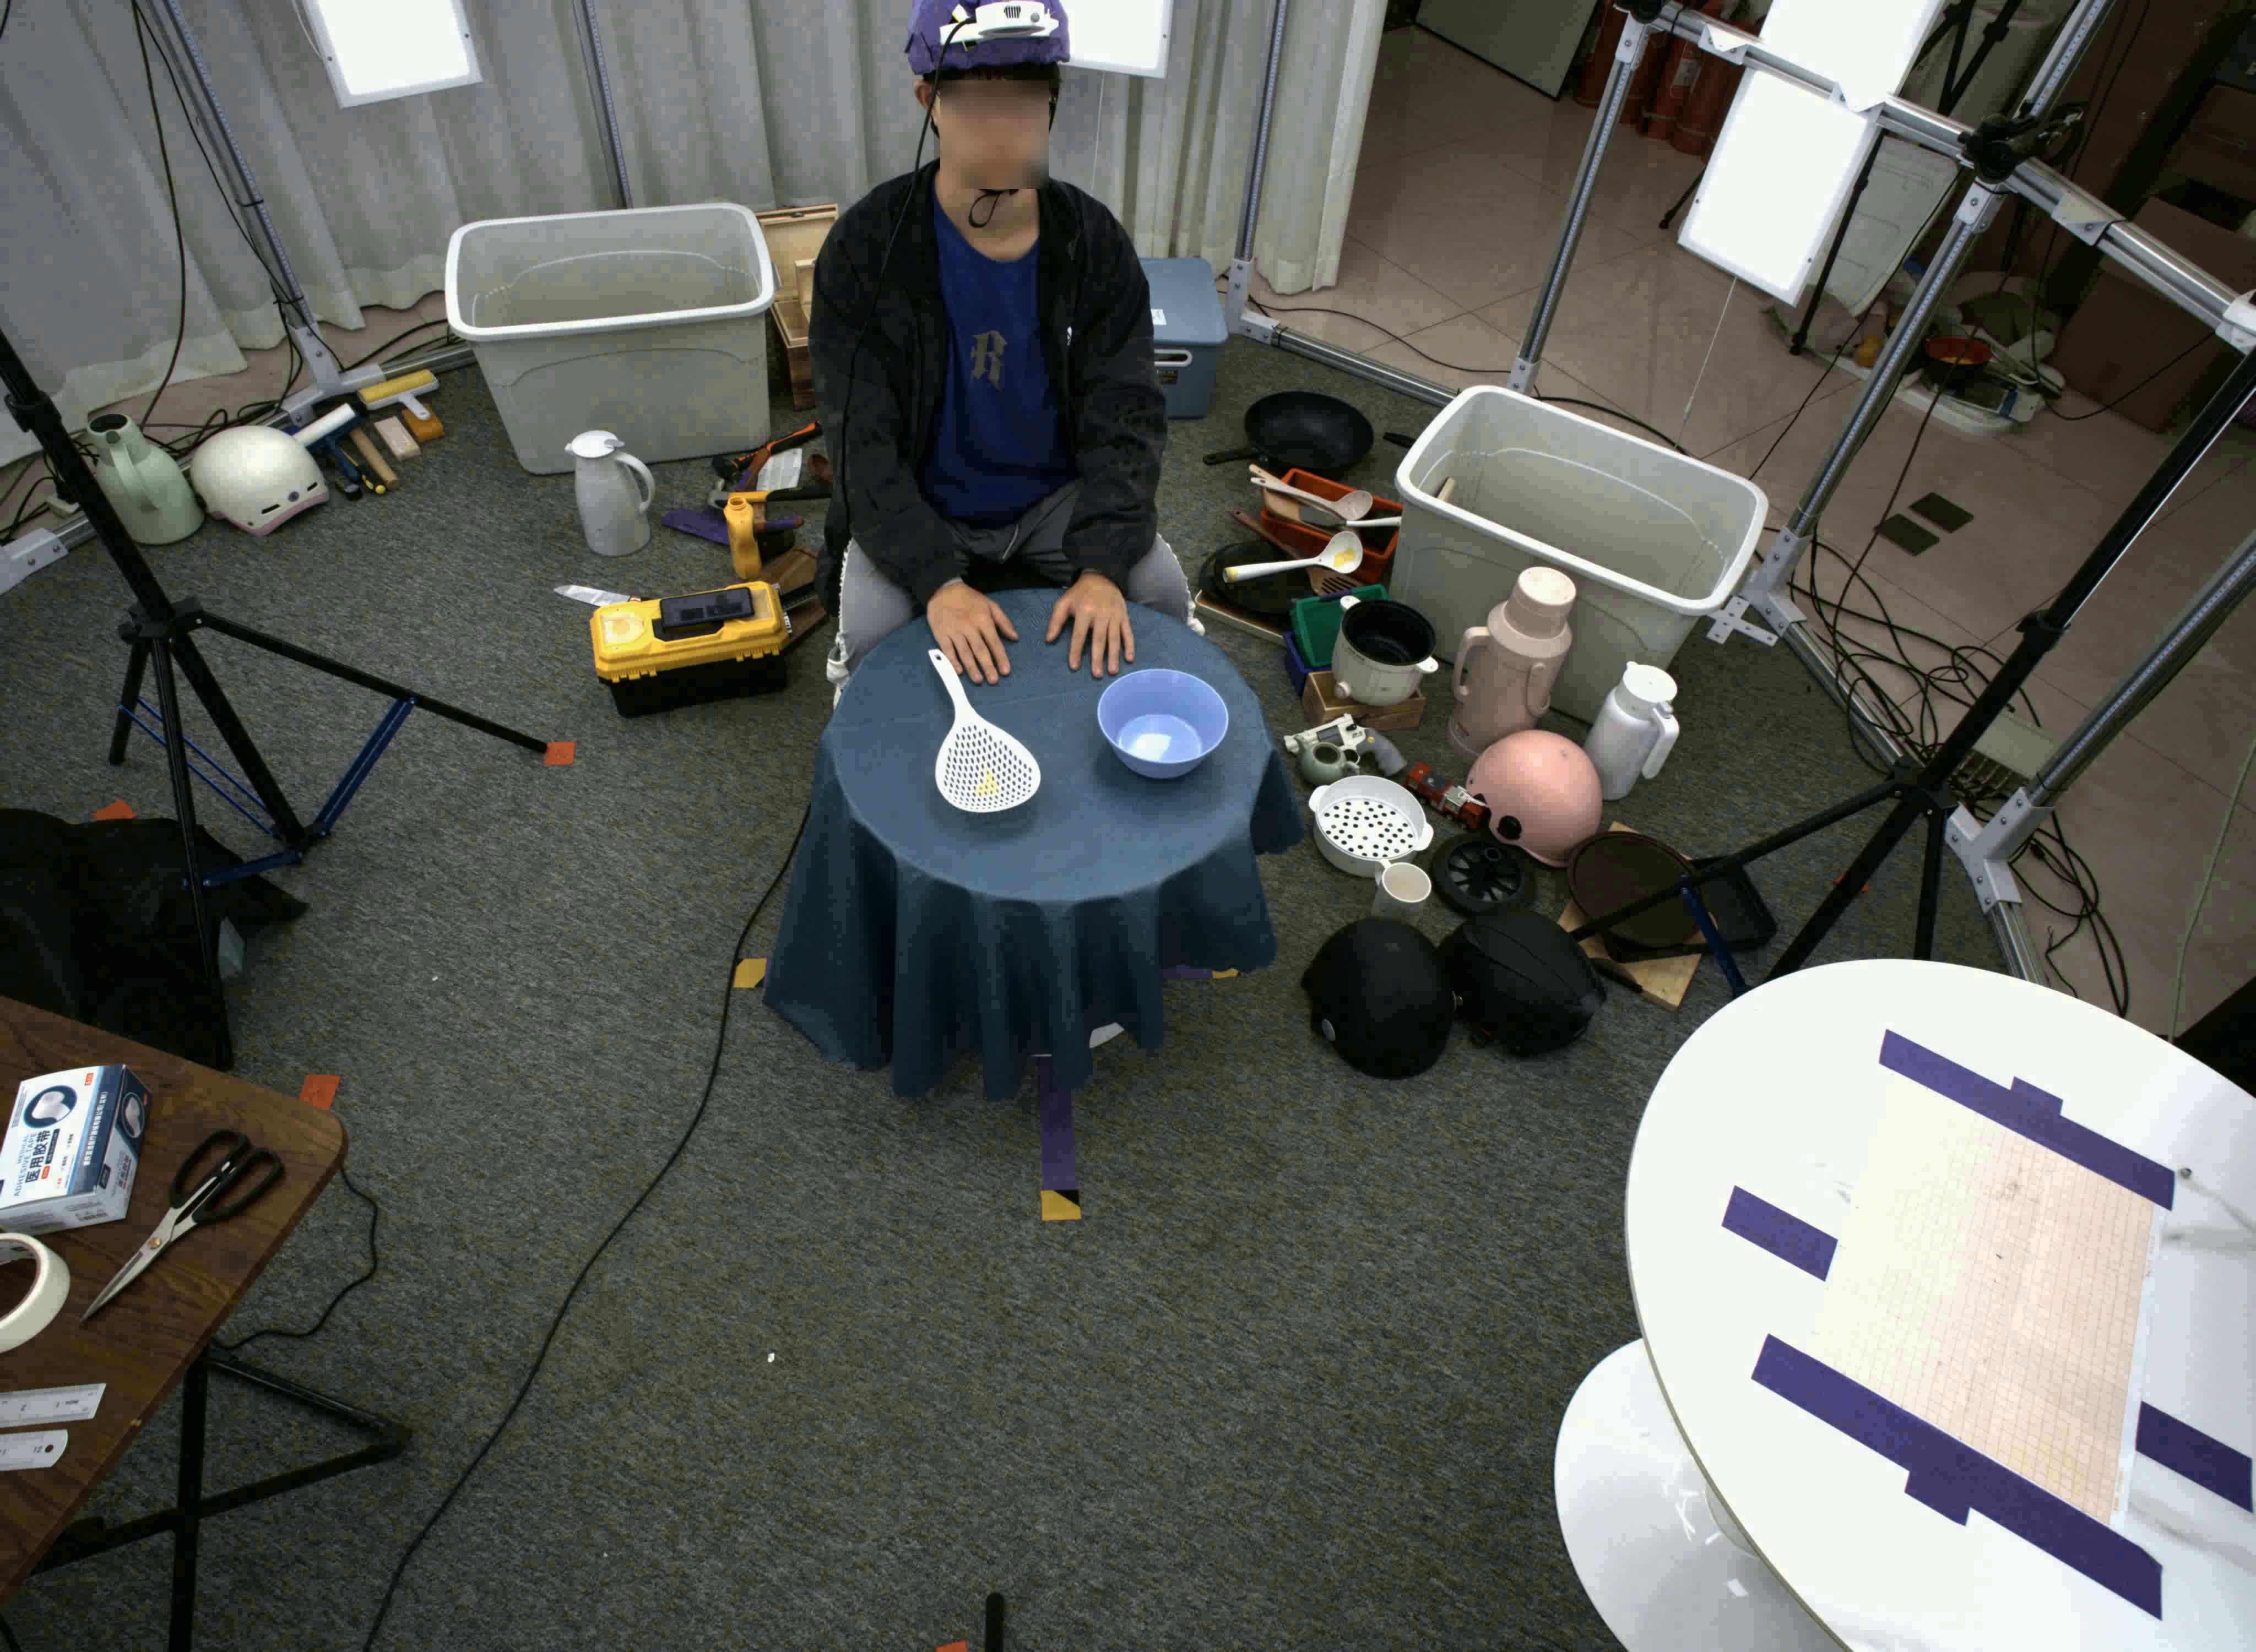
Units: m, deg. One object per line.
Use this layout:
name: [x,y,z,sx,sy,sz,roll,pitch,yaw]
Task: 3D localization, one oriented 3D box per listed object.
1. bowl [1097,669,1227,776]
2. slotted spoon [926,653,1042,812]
bowl: [0.044,-0.132,1.744,0.176,0.068,0.180,2,49,-3]
slotted spoon: [-0.219,-0.139,1.752,0.137,0.049,0.356,-16,52,-12]
